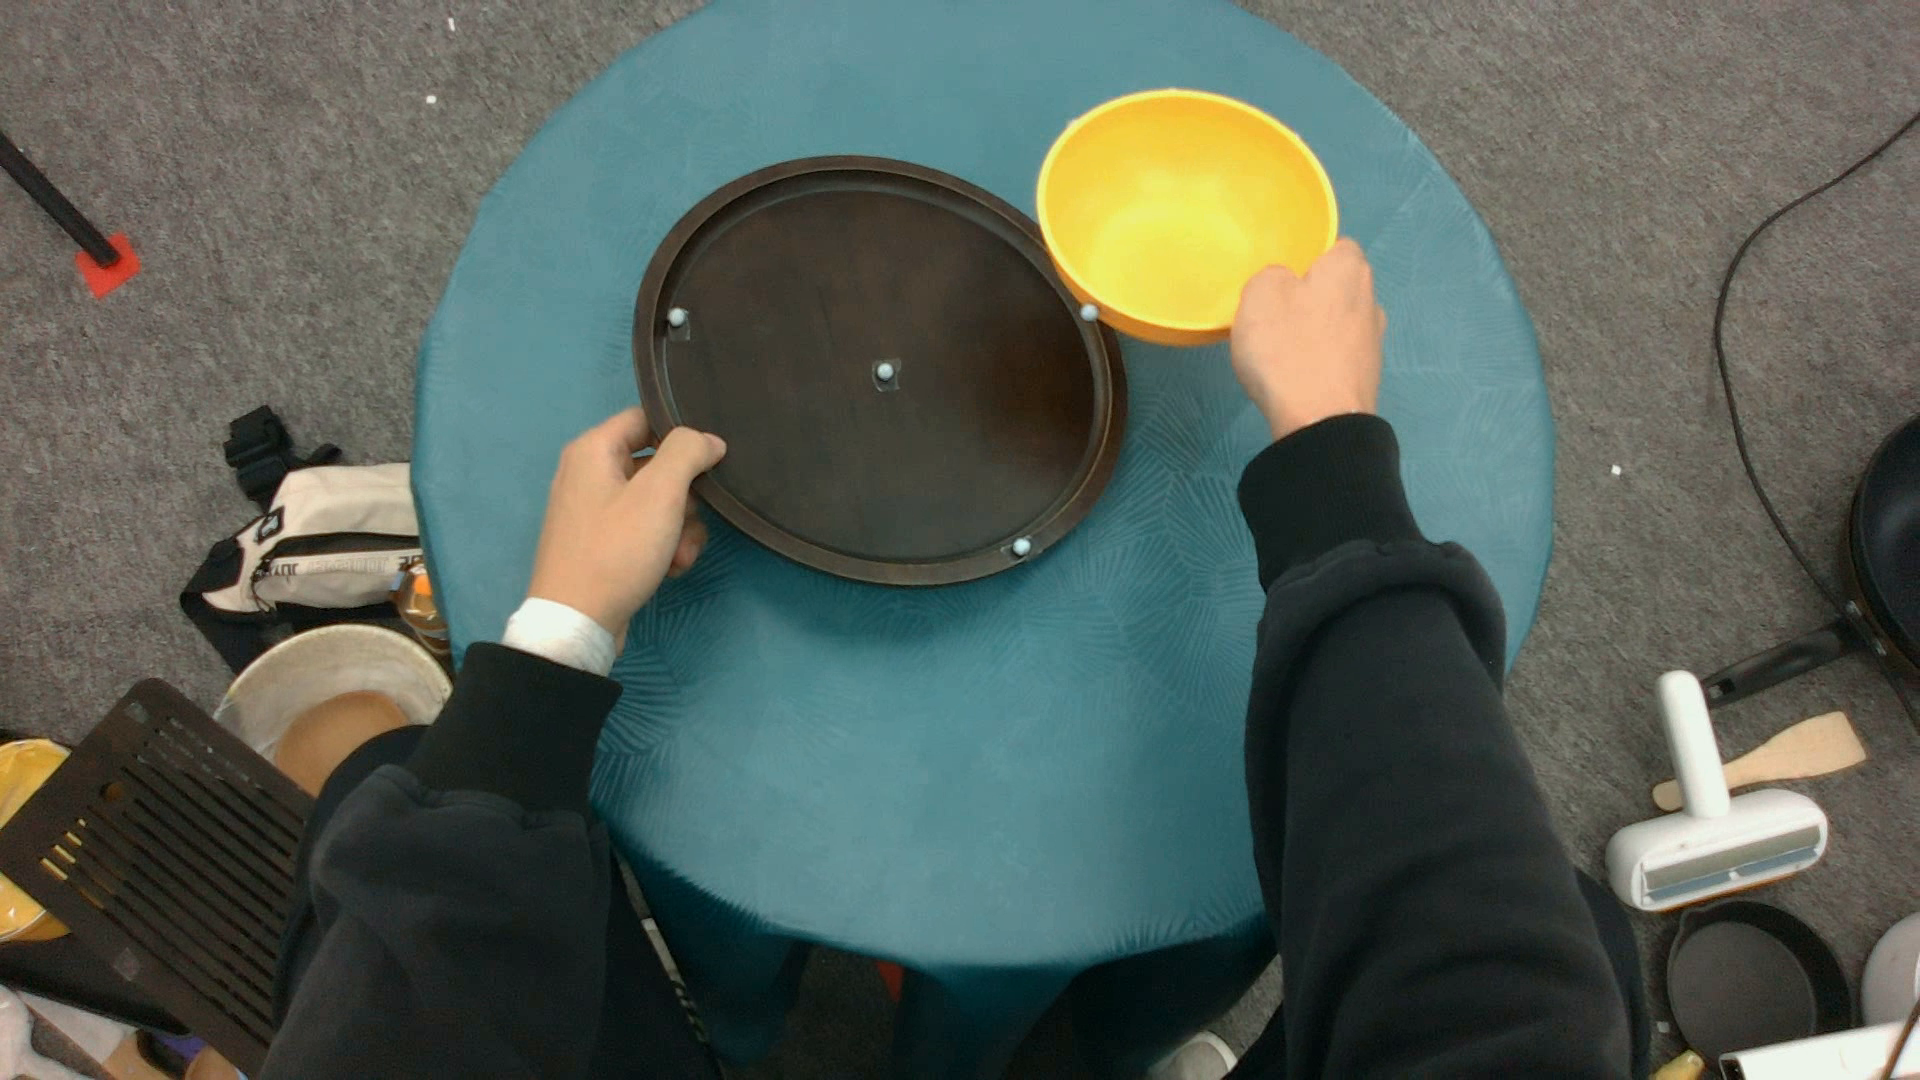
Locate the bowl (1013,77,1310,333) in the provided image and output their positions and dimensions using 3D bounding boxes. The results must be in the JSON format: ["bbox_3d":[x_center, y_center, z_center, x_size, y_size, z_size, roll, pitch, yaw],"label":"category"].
[{"bbox_3d":[0.097,-0.157,0.691,0.145,0.060,0.146,1,66,-2],"label":"bowl"}]

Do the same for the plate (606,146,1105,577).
[{"bbox_3d":[-0.048,-0.095,0.694,0.255,0.029,0.255,8,63,-15],"label":"plate"}]
